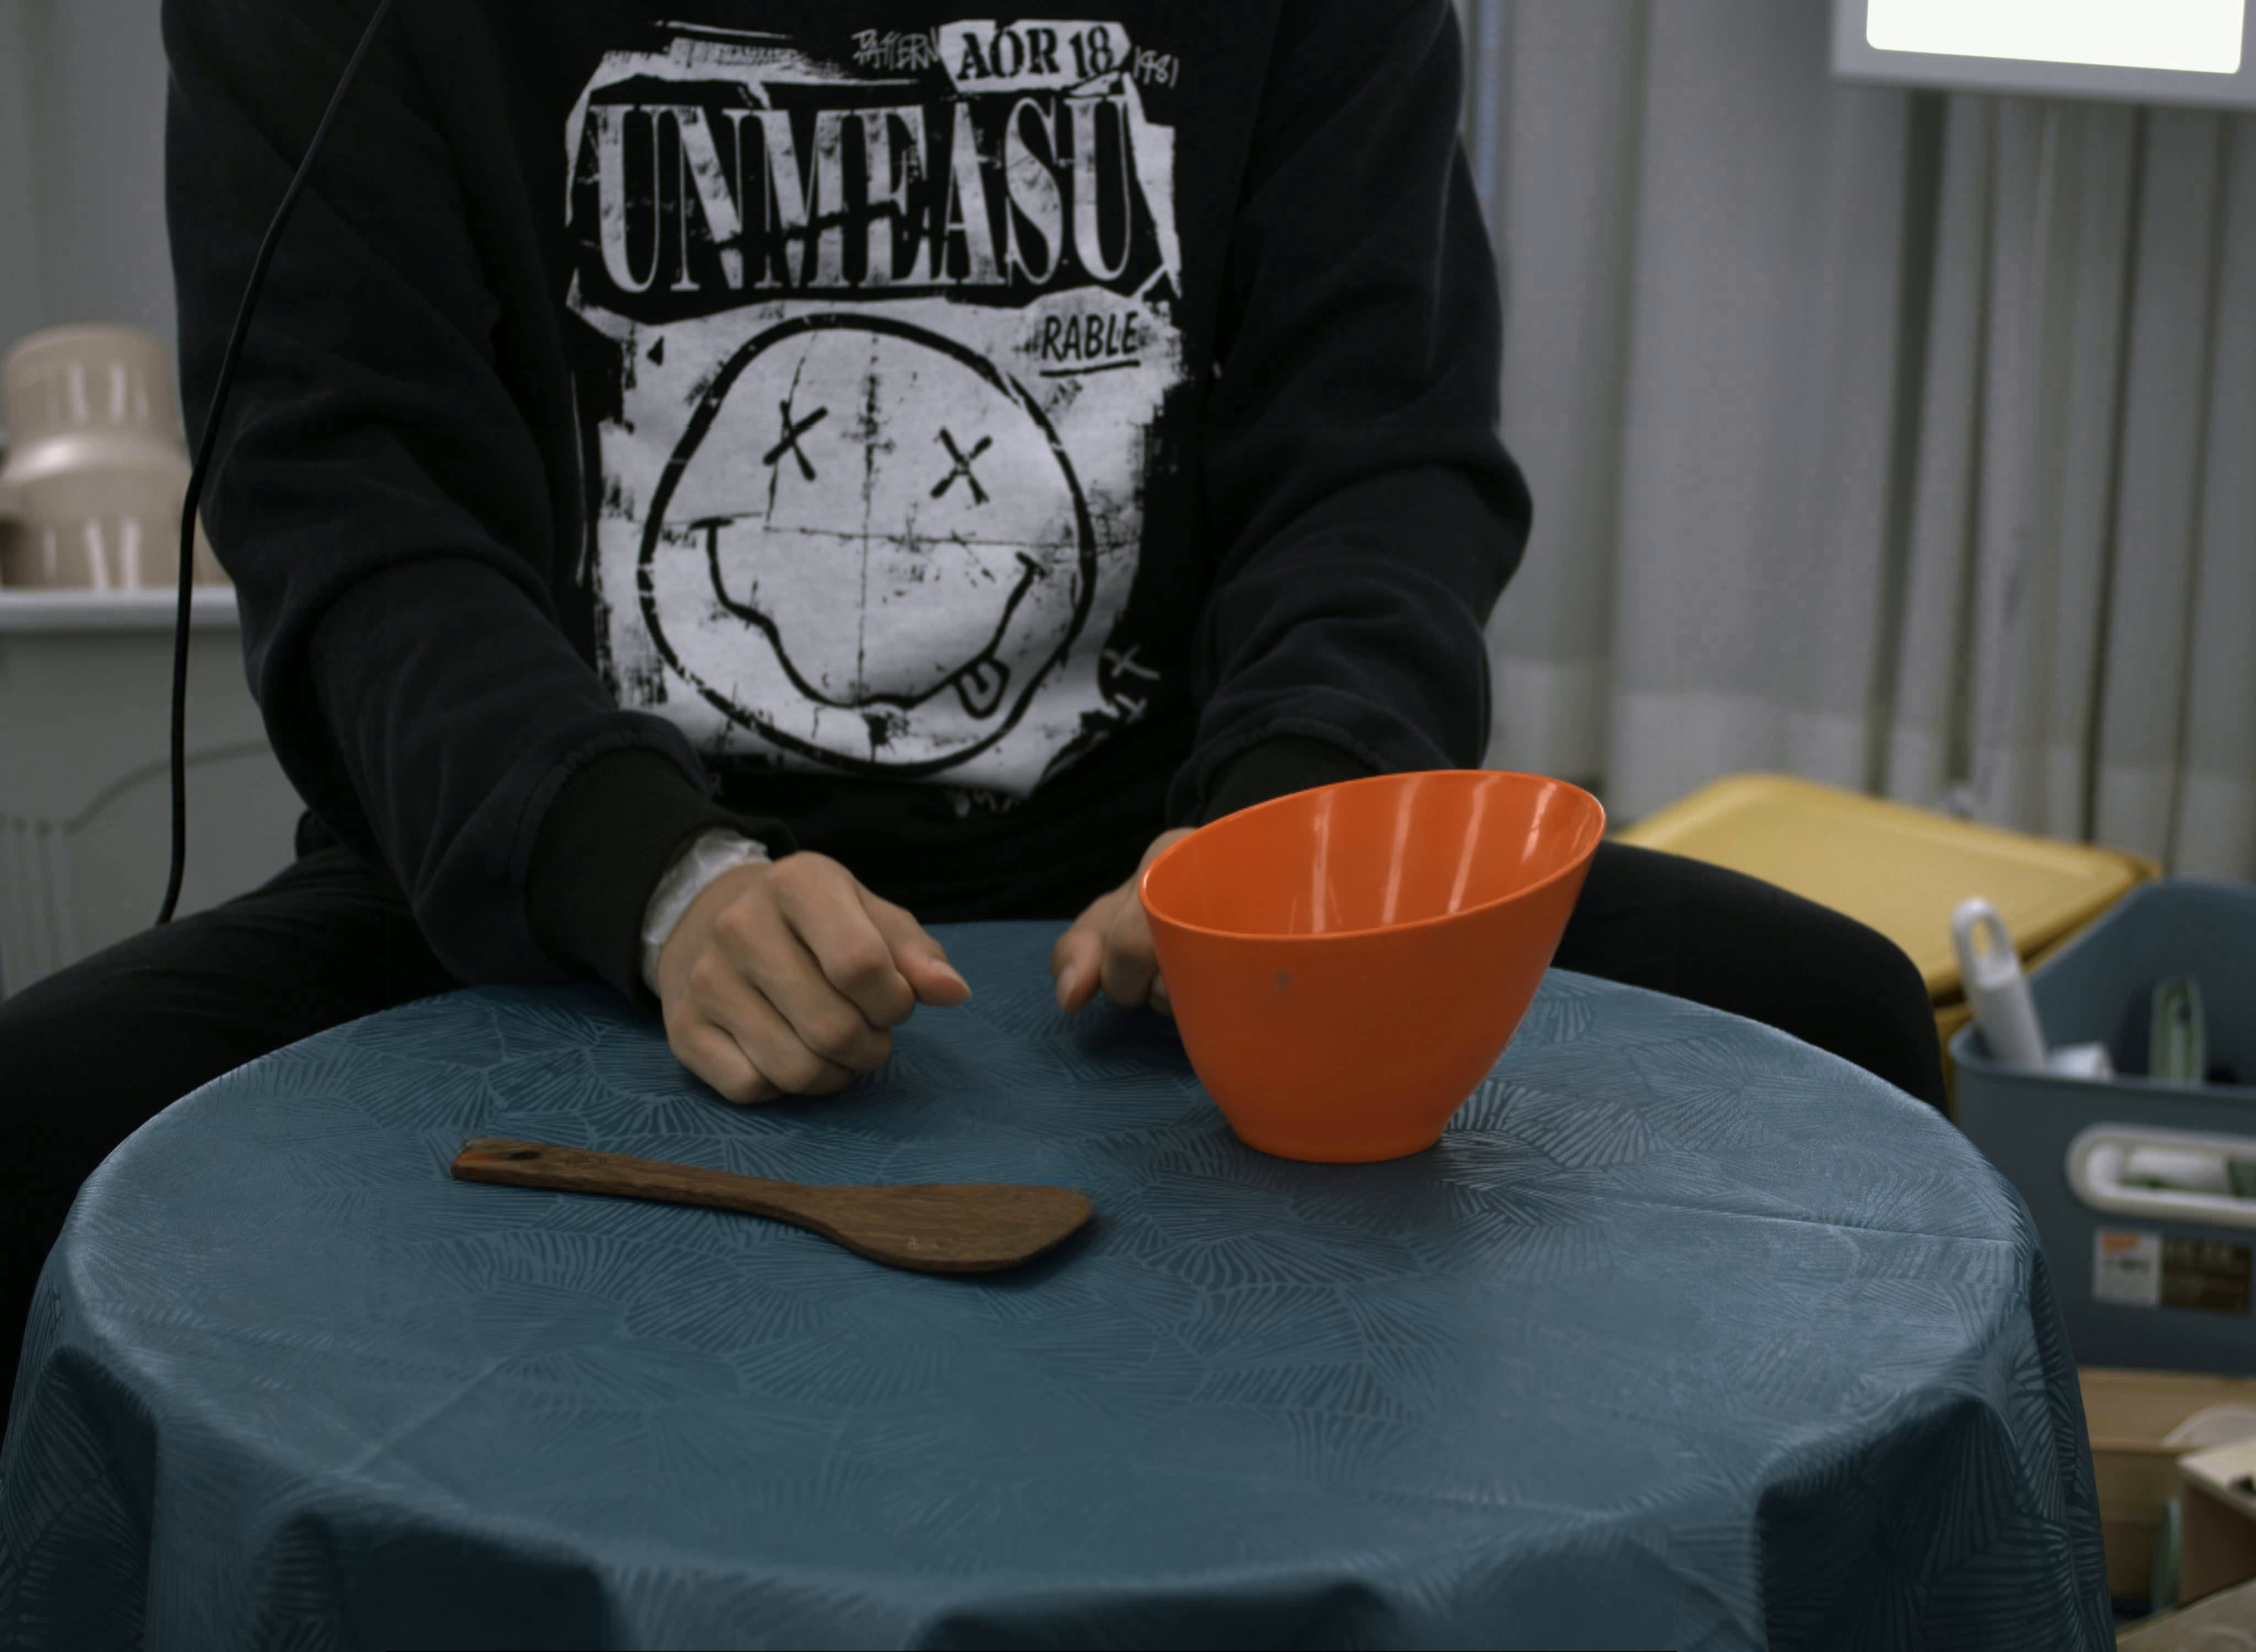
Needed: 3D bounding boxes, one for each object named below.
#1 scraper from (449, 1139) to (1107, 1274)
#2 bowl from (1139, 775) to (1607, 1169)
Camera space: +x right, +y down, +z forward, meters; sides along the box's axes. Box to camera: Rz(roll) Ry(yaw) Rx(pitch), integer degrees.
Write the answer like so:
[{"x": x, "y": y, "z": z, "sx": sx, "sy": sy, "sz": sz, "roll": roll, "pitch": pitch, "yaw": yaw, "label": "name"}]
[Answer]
[{"x": -0.111, "y": 0.113, "z": 1.606, "sx": 0.209, "sy": 0.011, "sz": 0.076, "roll": 6, "pitch": 16, "yaw": 21, "label": "scraper"}, {"x": 0.077, "y": 0.048, "z": 1.670, "sx": 0.147, "sy": 0.105, "sz": 0.147, "roll": 1, "pitch": 17, "yaw": 0, "label": "bowl"}]
